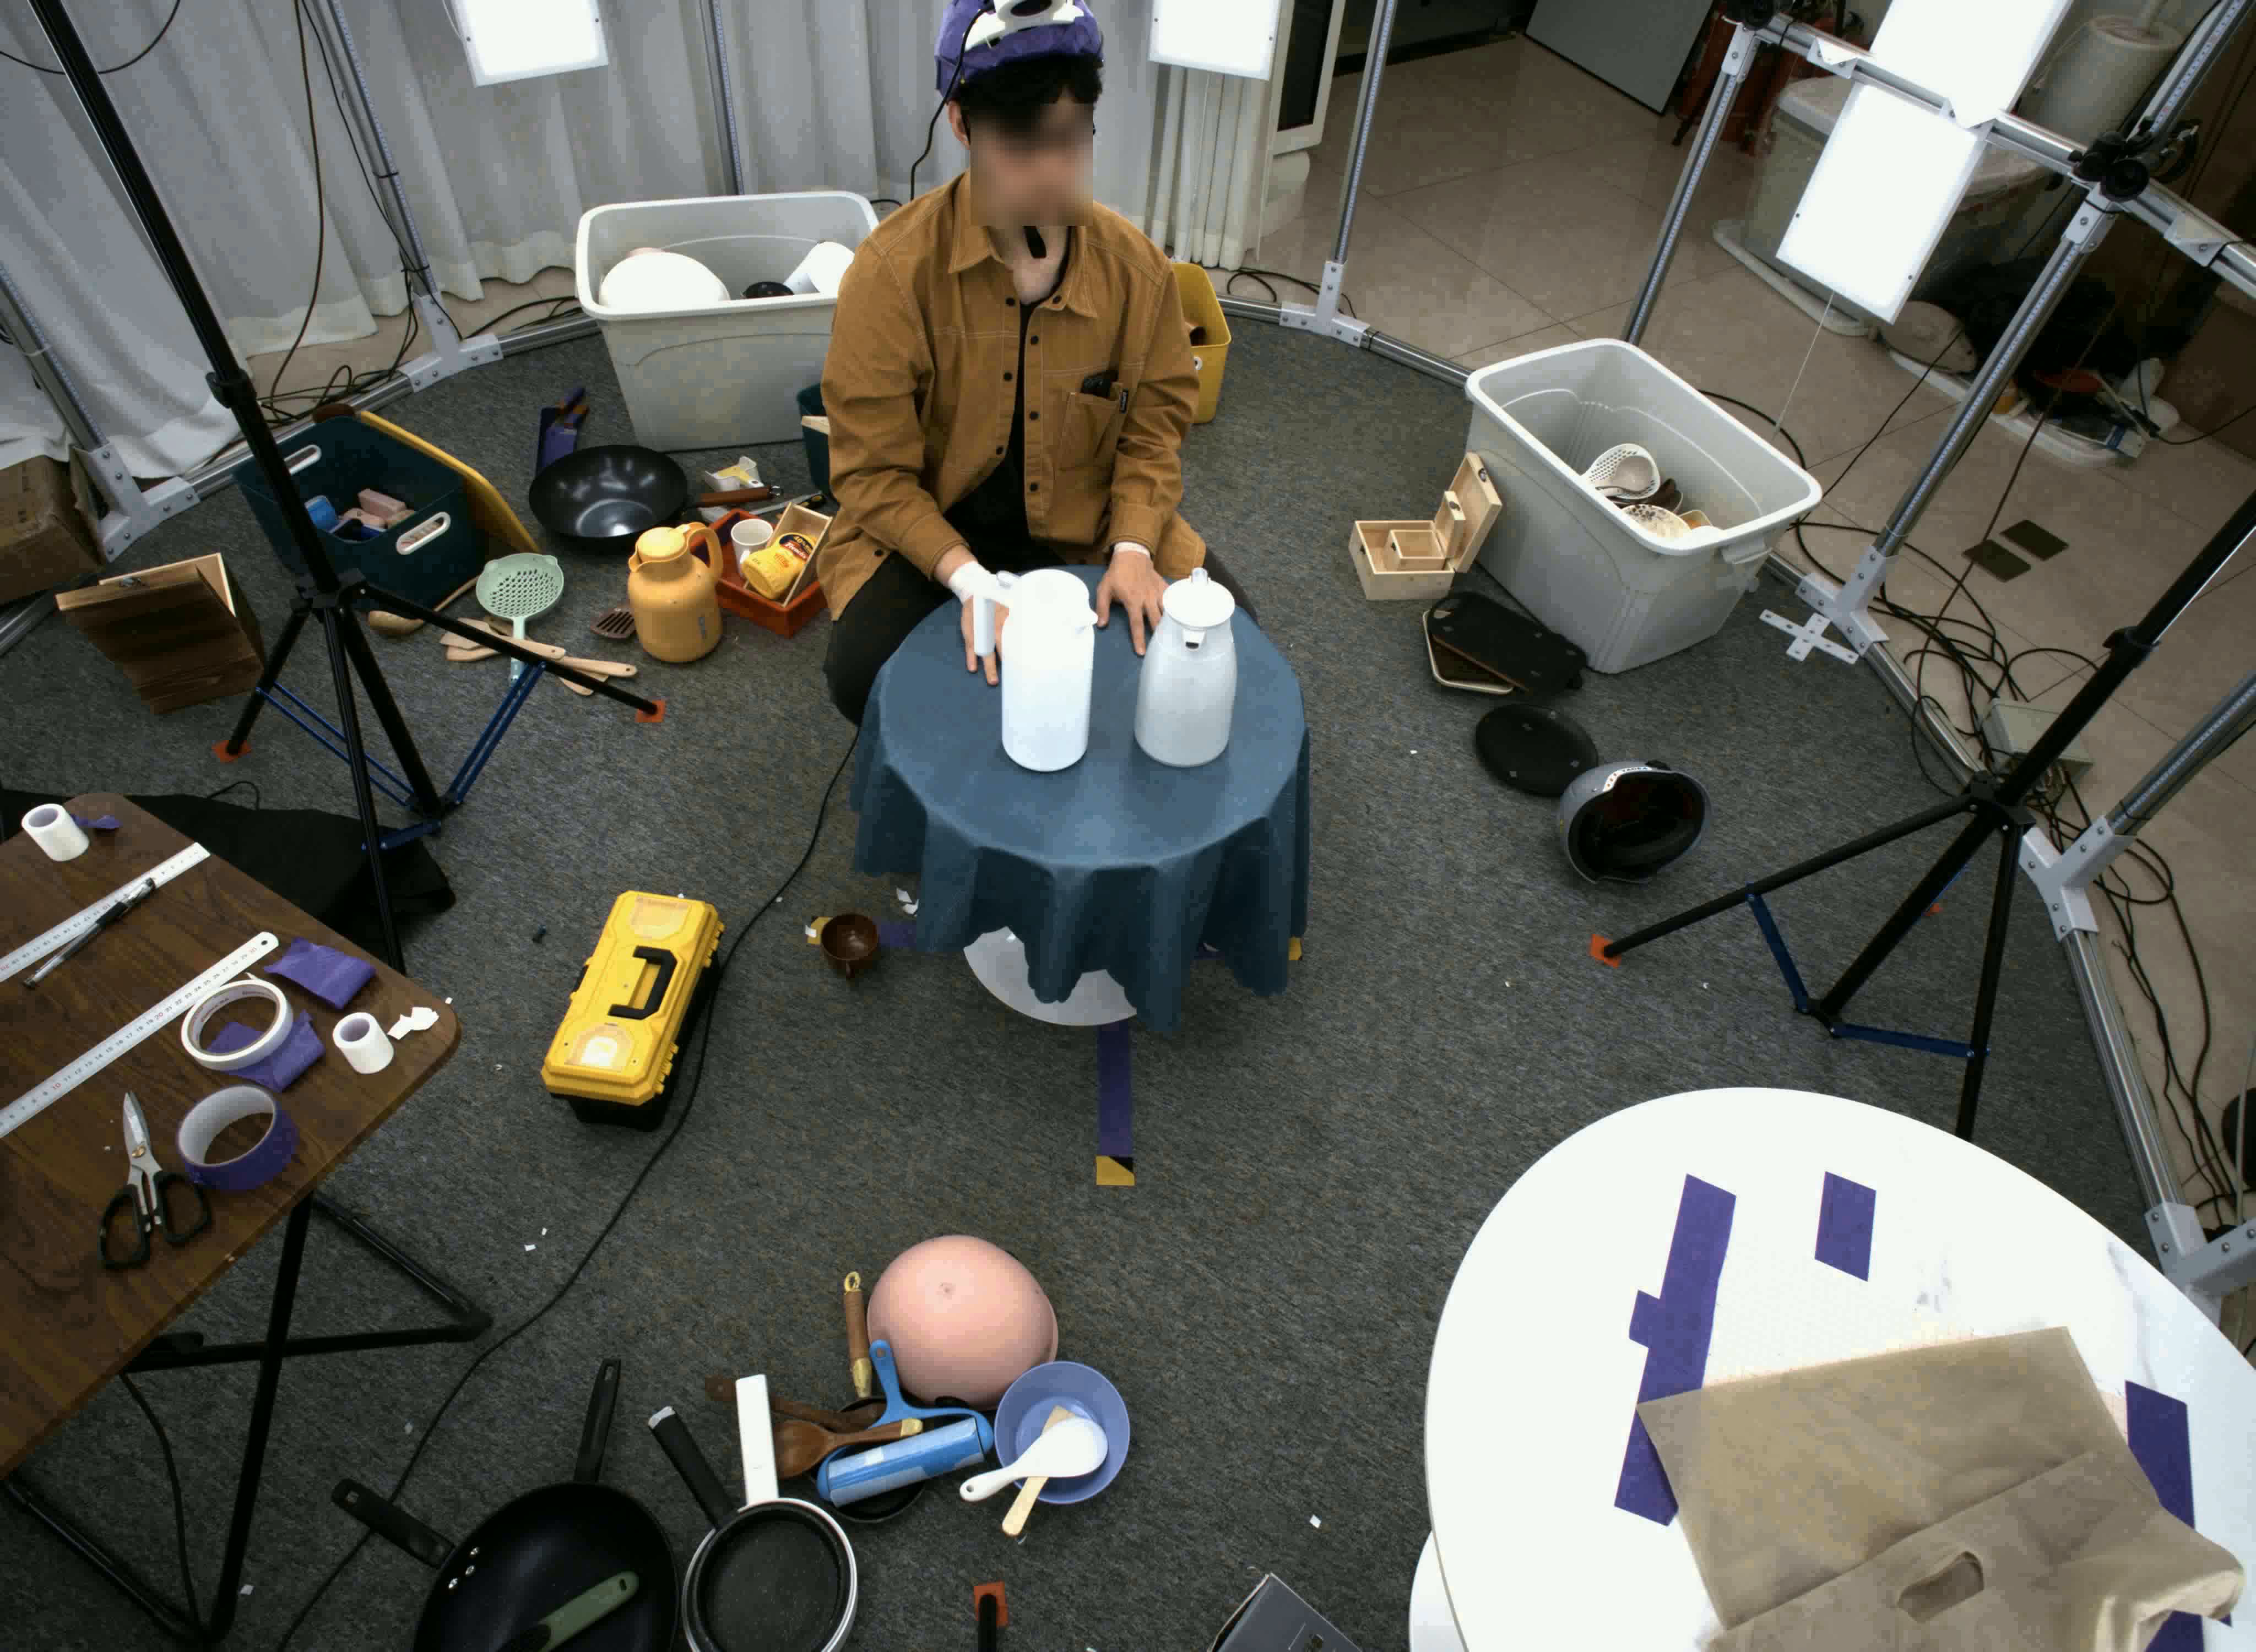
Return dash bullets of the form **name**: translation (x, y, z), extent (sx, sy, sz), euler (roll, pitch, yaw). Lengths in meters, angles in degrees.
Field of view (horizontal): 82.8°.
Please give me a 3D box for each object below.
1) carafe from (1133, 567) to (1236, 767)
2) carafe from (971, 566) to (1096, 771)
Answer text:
- **carafe**: translation (0.081, -0.223, 1.708), extent (0.132, 0.242, 0.172), euler (7, 48, 2)
- **carafe**: translation (-0.122, -0.204, 1.667), extent (0.174, 0.262, 0.126), euler (24, 54, 17)
